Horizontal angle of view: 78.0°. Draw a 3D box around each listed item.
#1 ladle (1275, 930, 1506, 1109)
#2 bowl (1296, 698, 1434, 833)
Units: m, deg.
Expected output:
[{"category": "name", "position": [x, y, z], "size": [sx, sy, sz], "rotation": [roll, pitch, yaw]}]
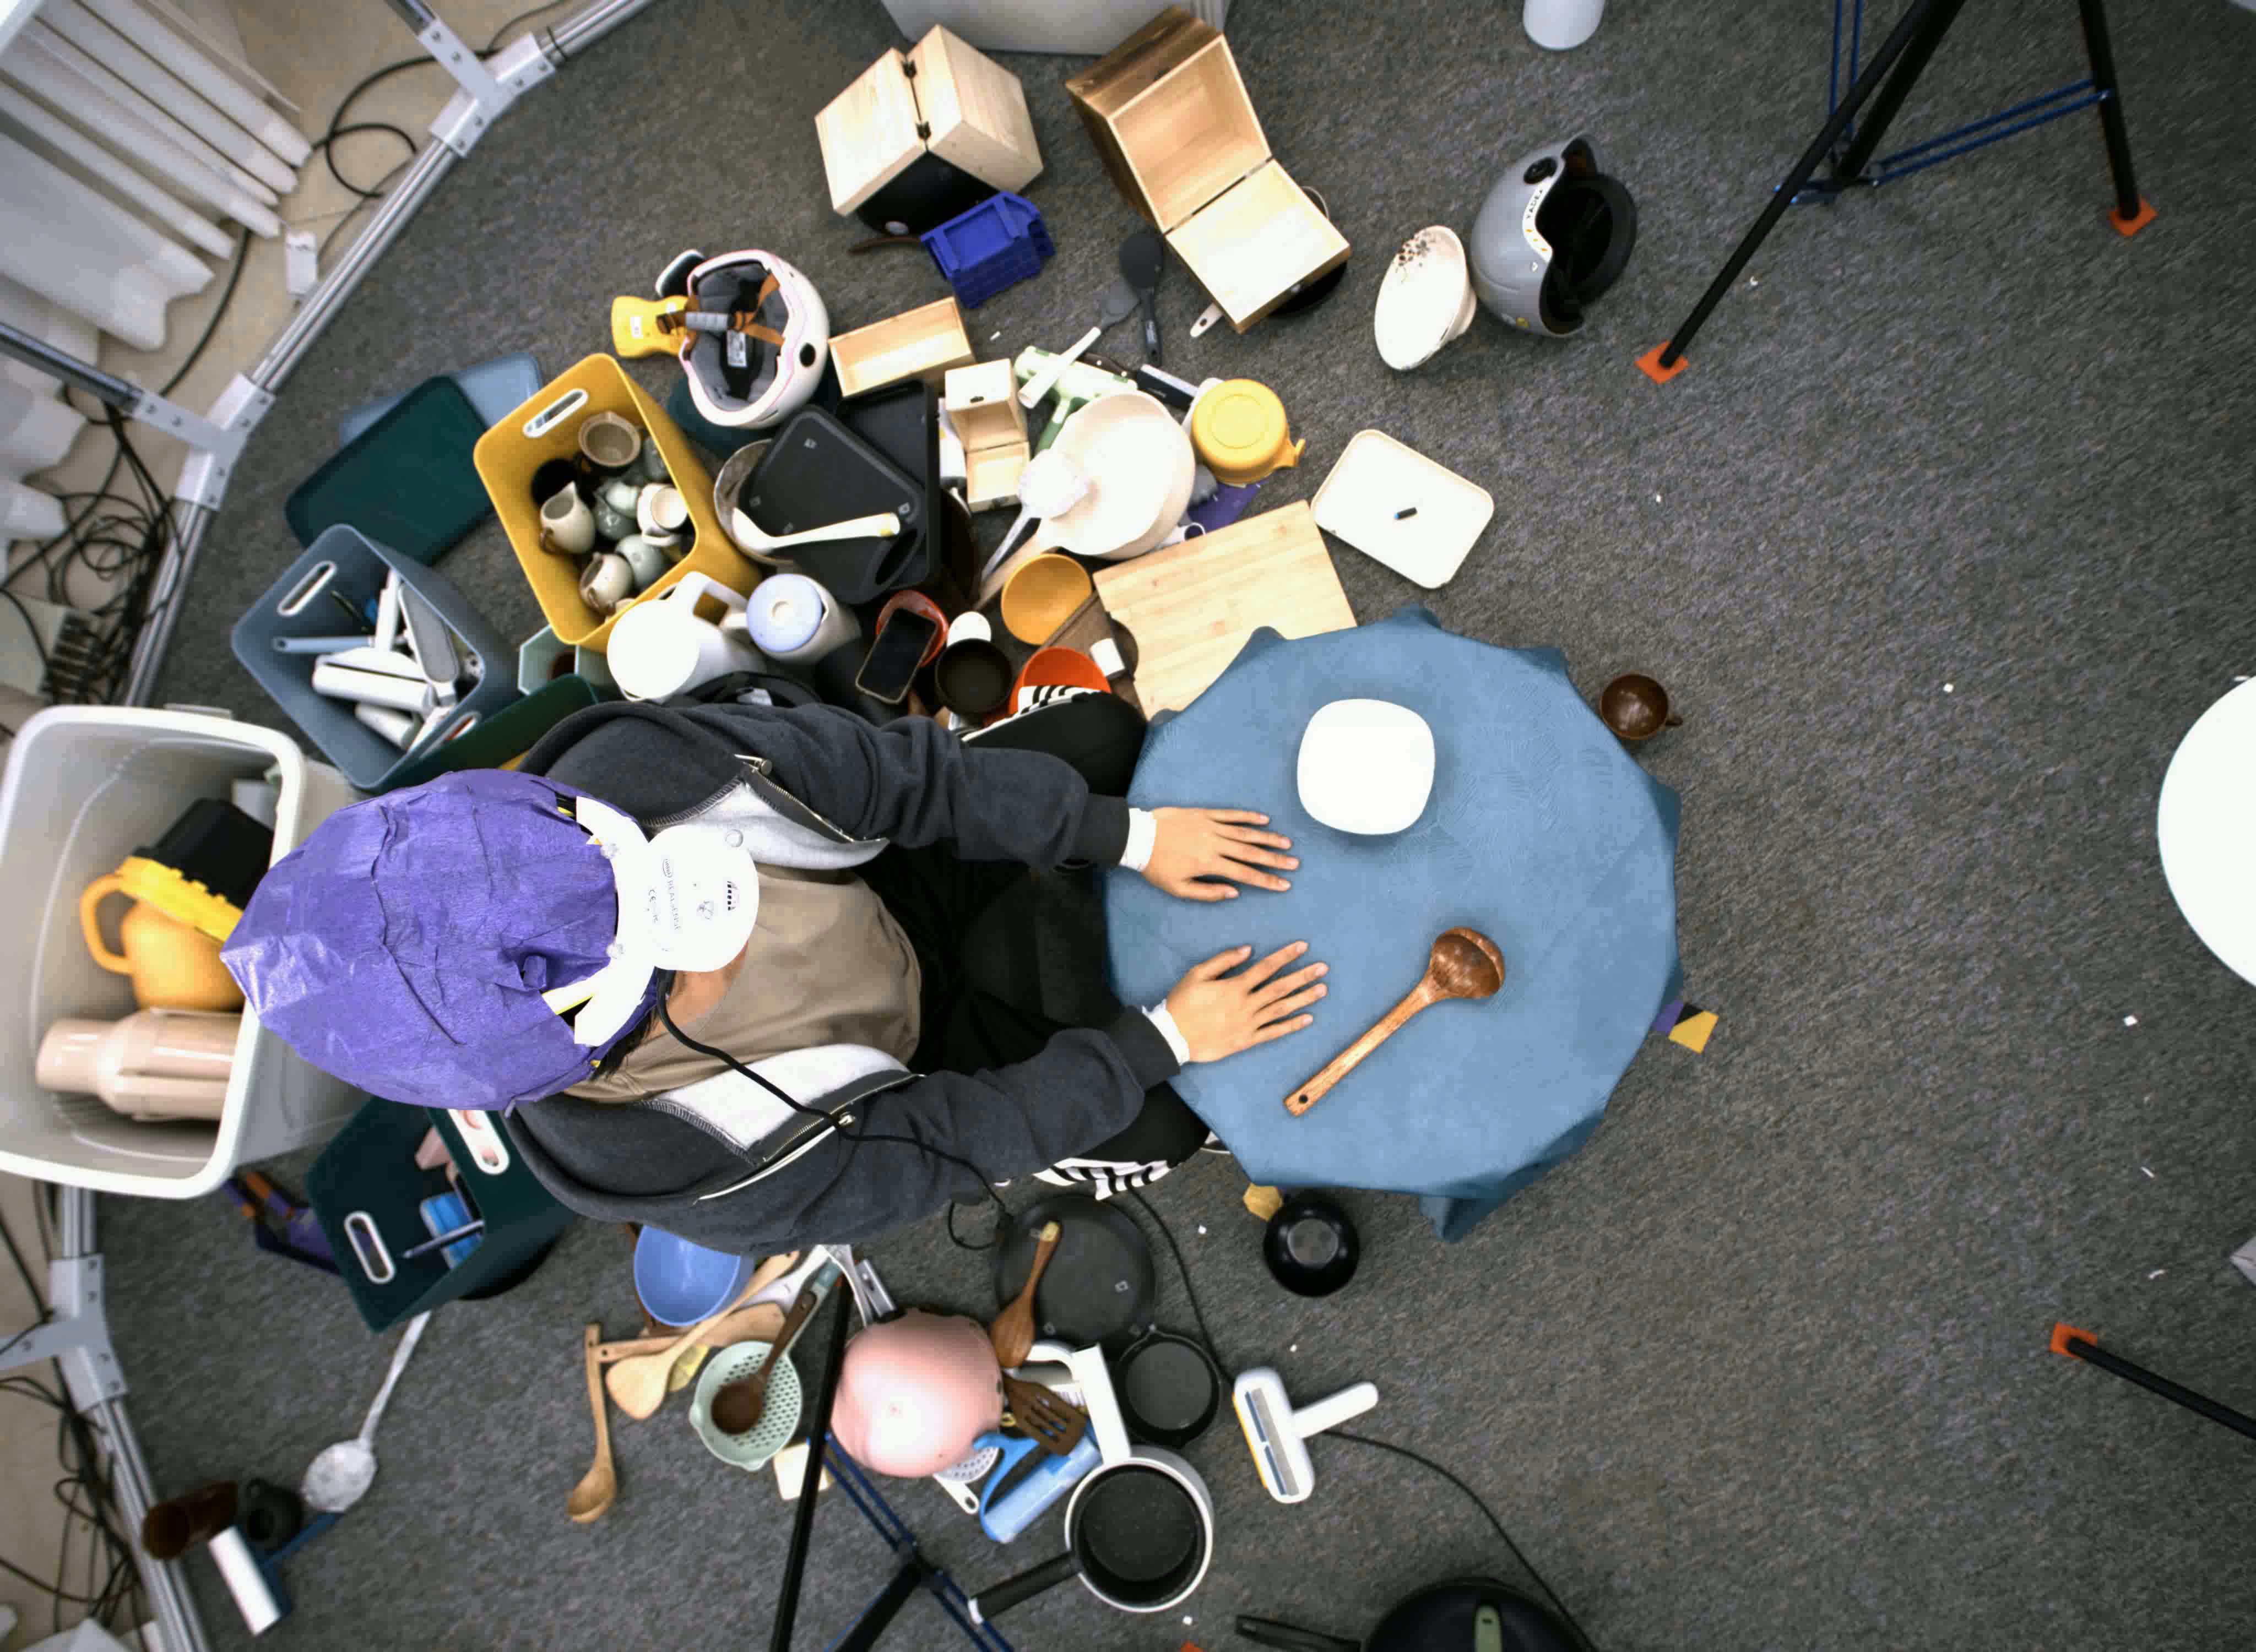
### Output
[{"category": "ladle", "position": [0.265, 0.207, 1.413], "size": [0.275, 0.076, 0.081], "rotation": [-39, 84, 6]}, {"category": "bowl", "position": [0.247, -0.061, 1.441], "size": [0.152, 0.058, 0.151], "rotation": [-1, 87, 8]}]
